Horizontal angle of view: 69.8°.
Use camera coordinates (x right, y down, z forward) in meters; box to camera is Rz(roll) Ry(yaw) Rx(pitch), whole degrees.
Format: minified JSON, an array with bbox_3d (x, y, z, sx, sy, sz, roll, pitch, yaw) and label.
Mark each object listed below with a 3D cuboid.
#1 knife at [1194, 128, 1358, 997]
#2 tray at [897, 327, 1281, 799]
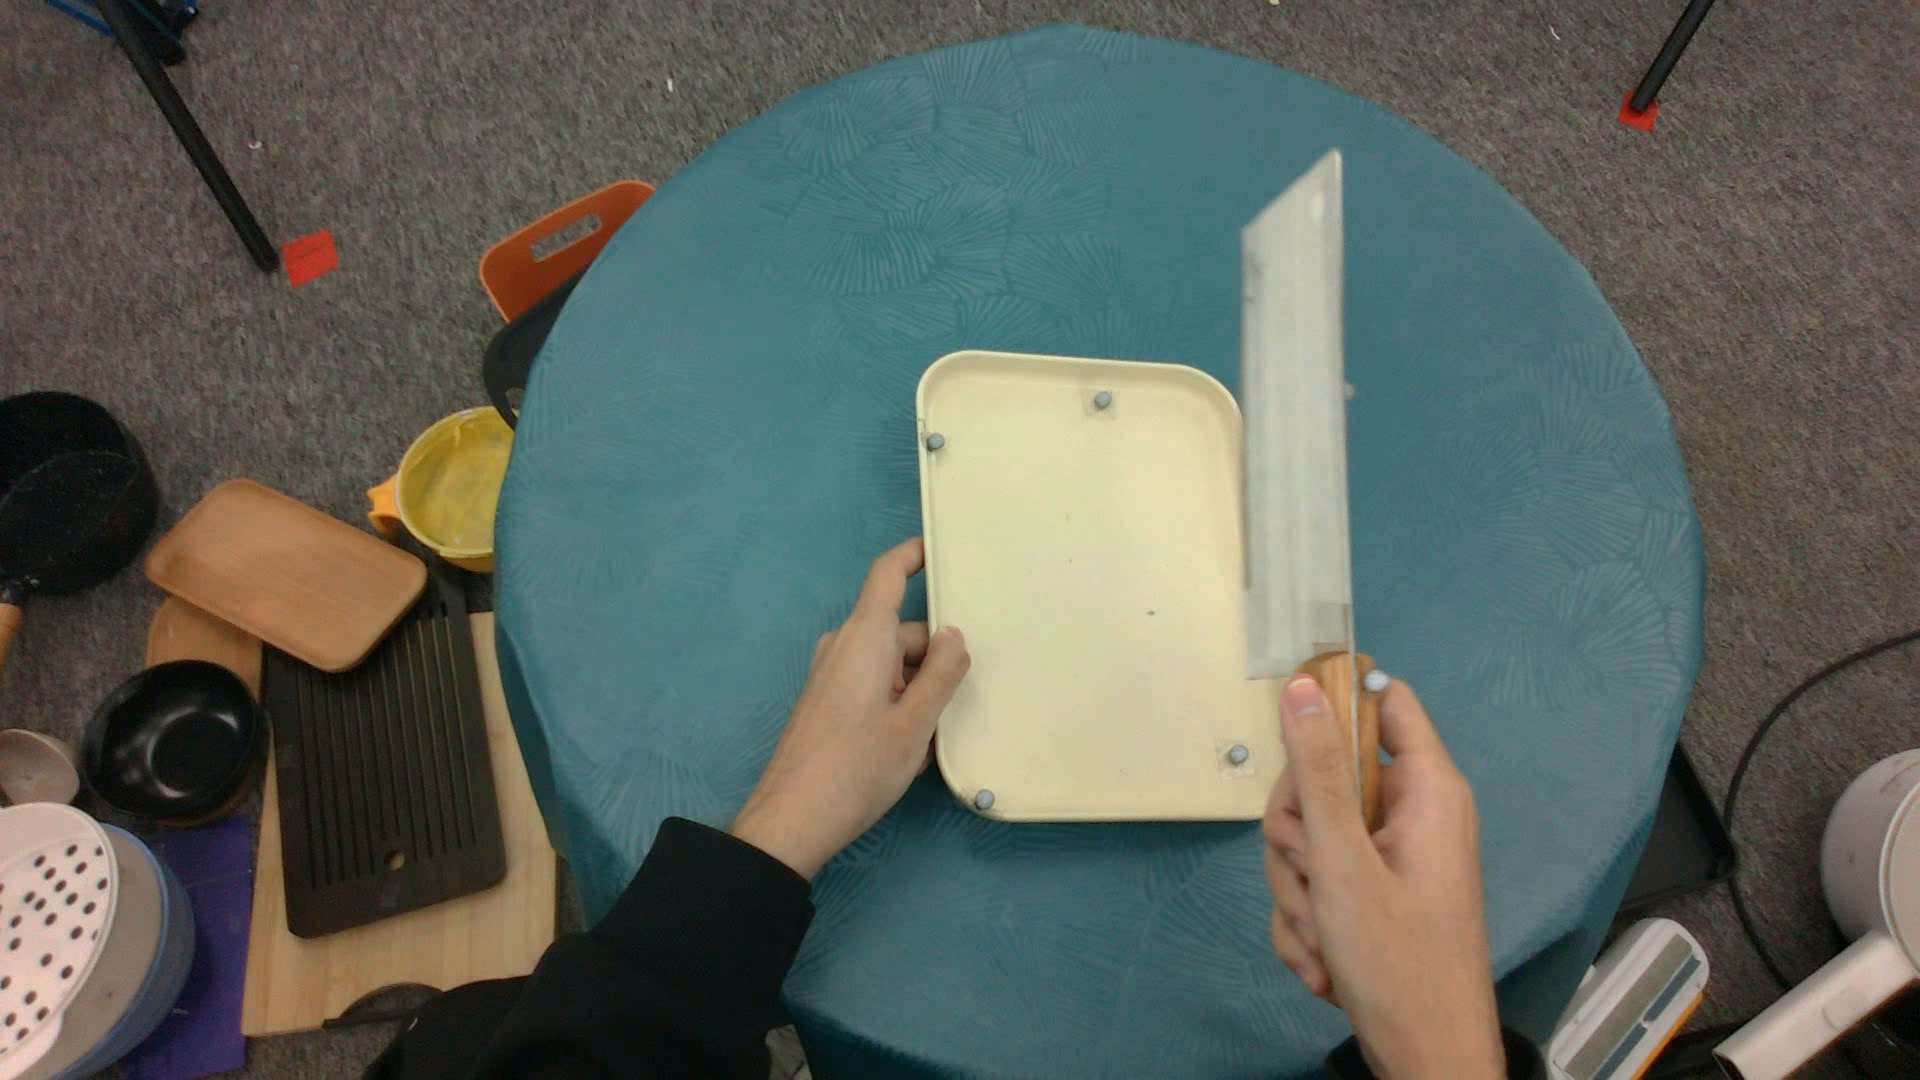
[{"bbox_3d":[0.111,0.005,0.512,0.021,0.092,0.306,0,83,-16],"label":"knife"},{"bbox_3d":[0.058,0.006,0.646,0.171,0.017,0.240,2,62,-13],"label":"tray"}]
